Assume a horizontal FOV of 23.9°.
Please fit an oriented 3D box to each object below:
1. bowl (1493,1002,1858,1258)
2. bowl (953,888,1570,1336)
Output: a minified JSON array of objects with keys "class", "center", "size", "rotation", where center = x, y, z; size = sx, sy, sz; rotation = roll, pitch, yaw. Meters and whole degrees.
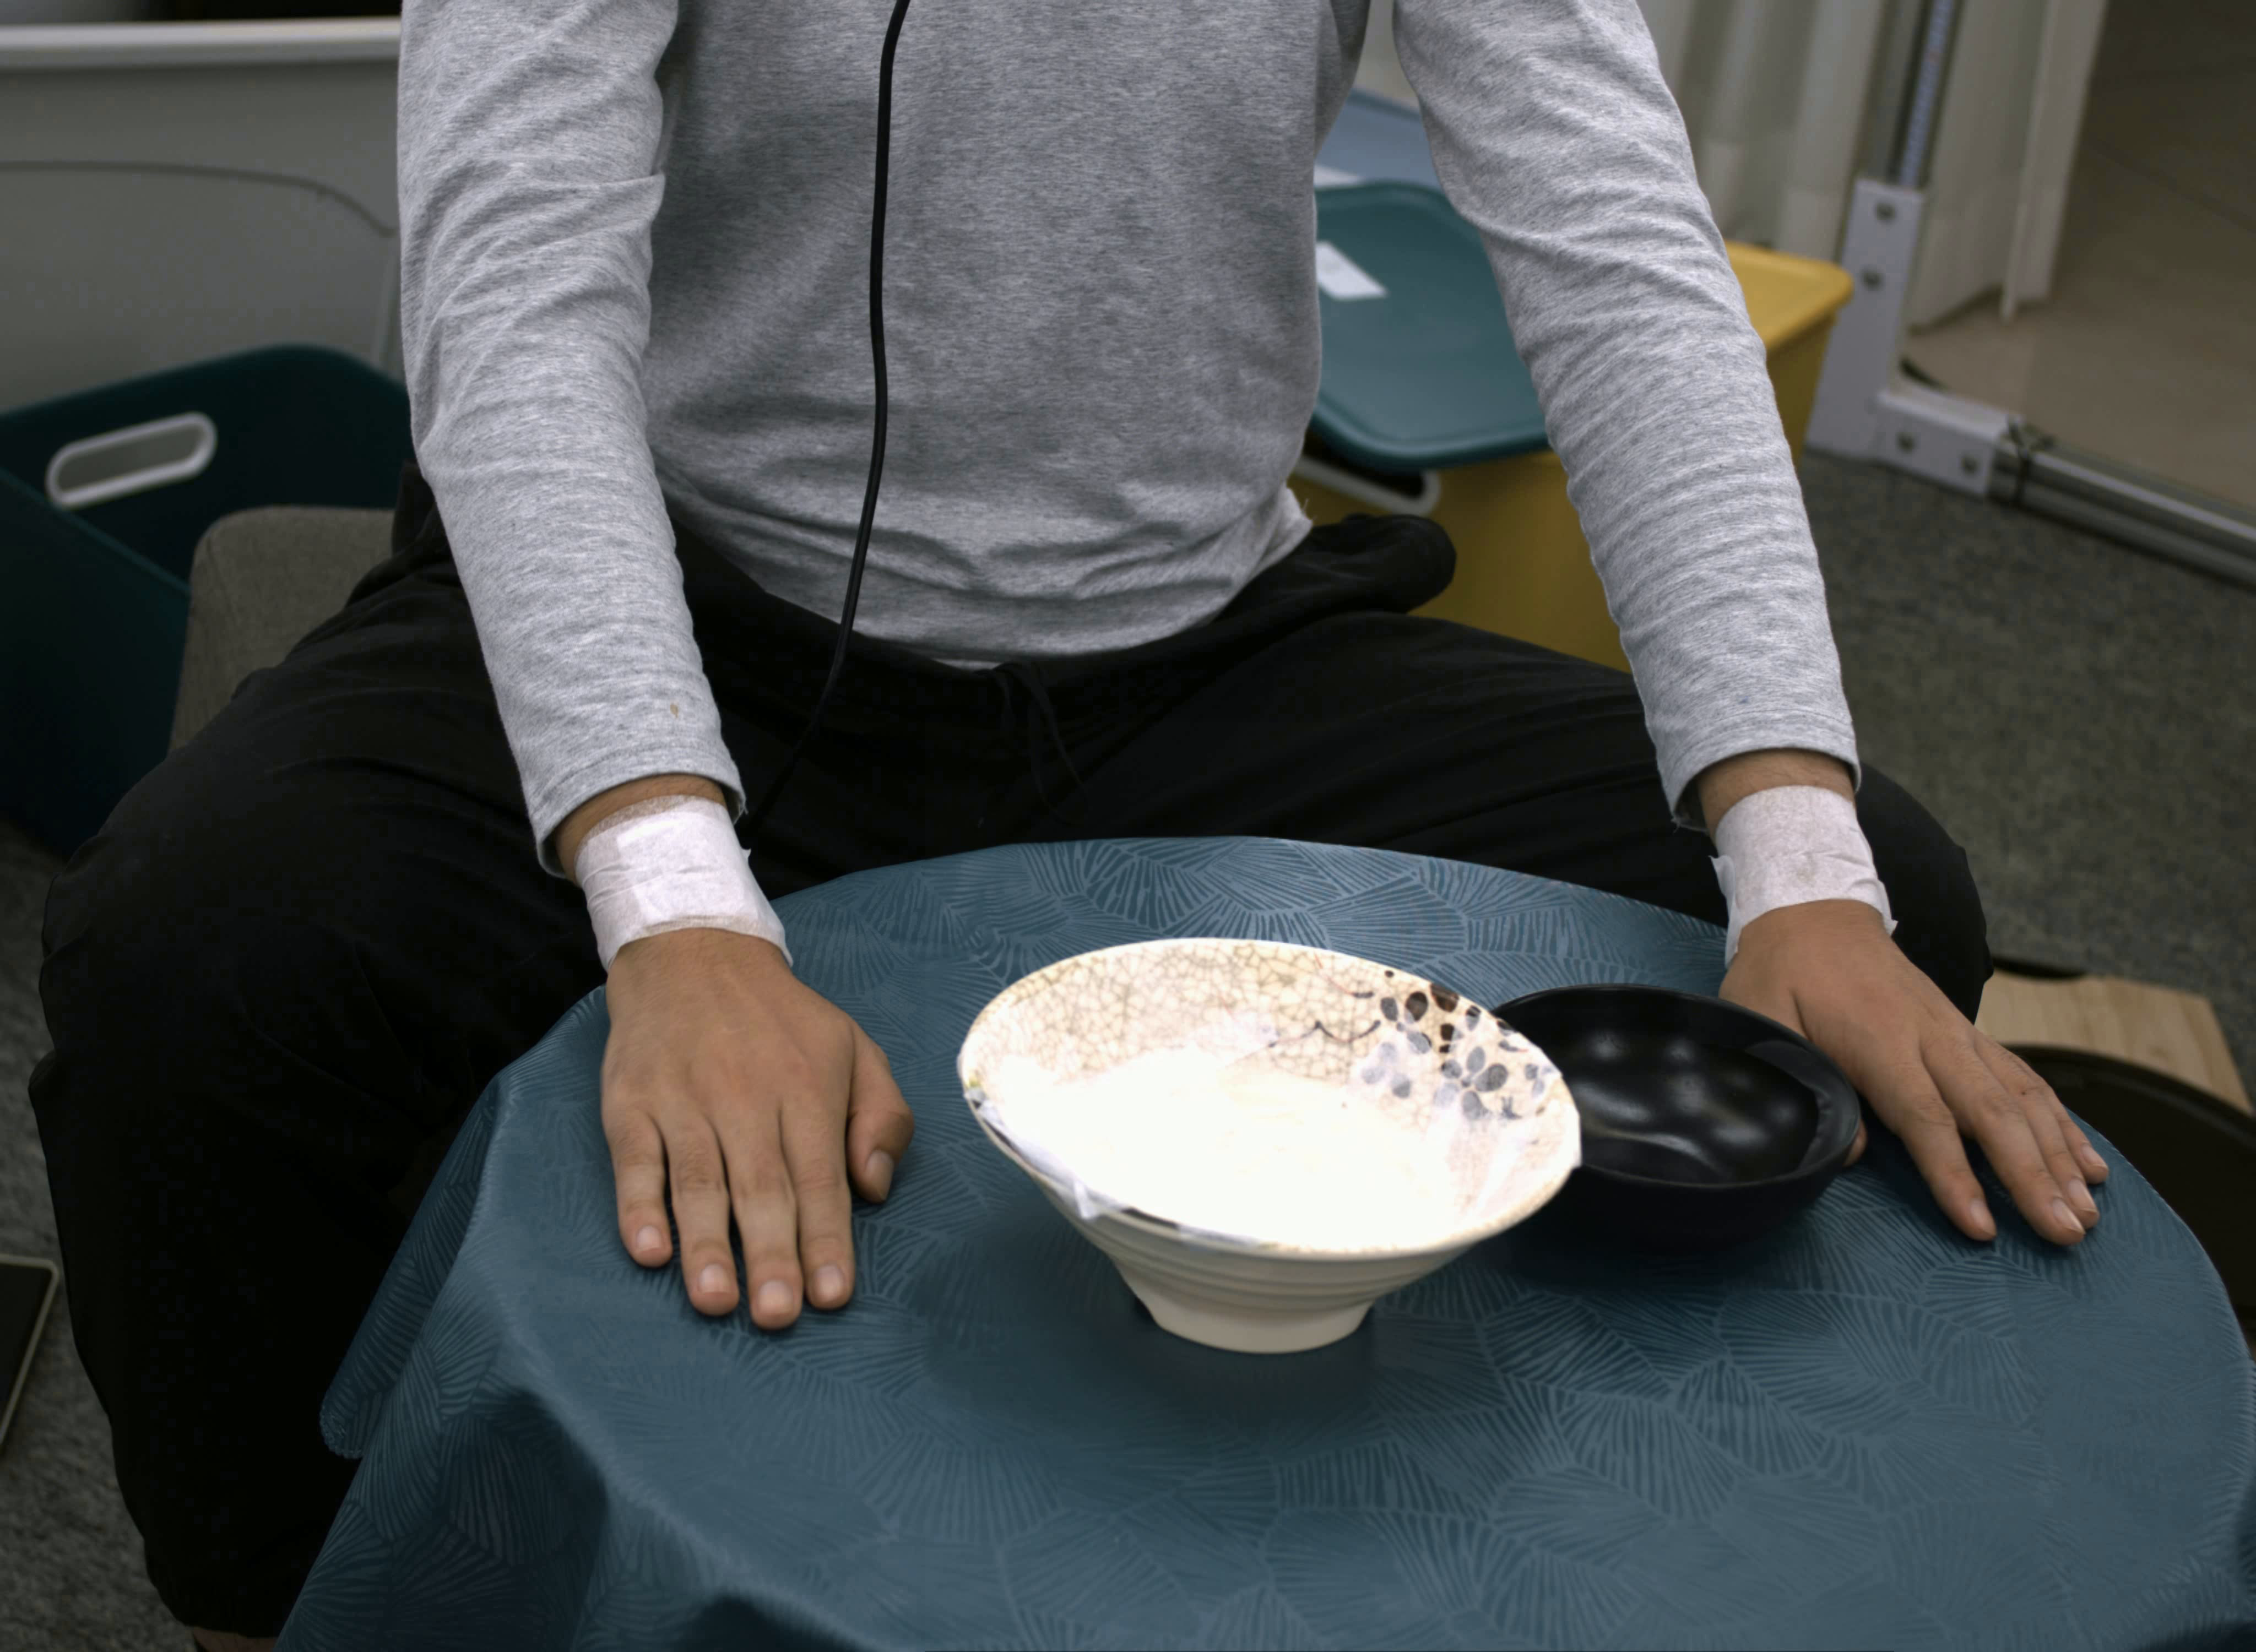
[{"class":"bowl","center":[0.178,0.111,1.824],"size":[0.139,0.049,0.141],"rotation":[6,21,-3]},{"class":"bowl","center":[0.037,0.109,1.732],"size":[0.203,0.077,0.205],"rotation":[8,32,-6]}]
